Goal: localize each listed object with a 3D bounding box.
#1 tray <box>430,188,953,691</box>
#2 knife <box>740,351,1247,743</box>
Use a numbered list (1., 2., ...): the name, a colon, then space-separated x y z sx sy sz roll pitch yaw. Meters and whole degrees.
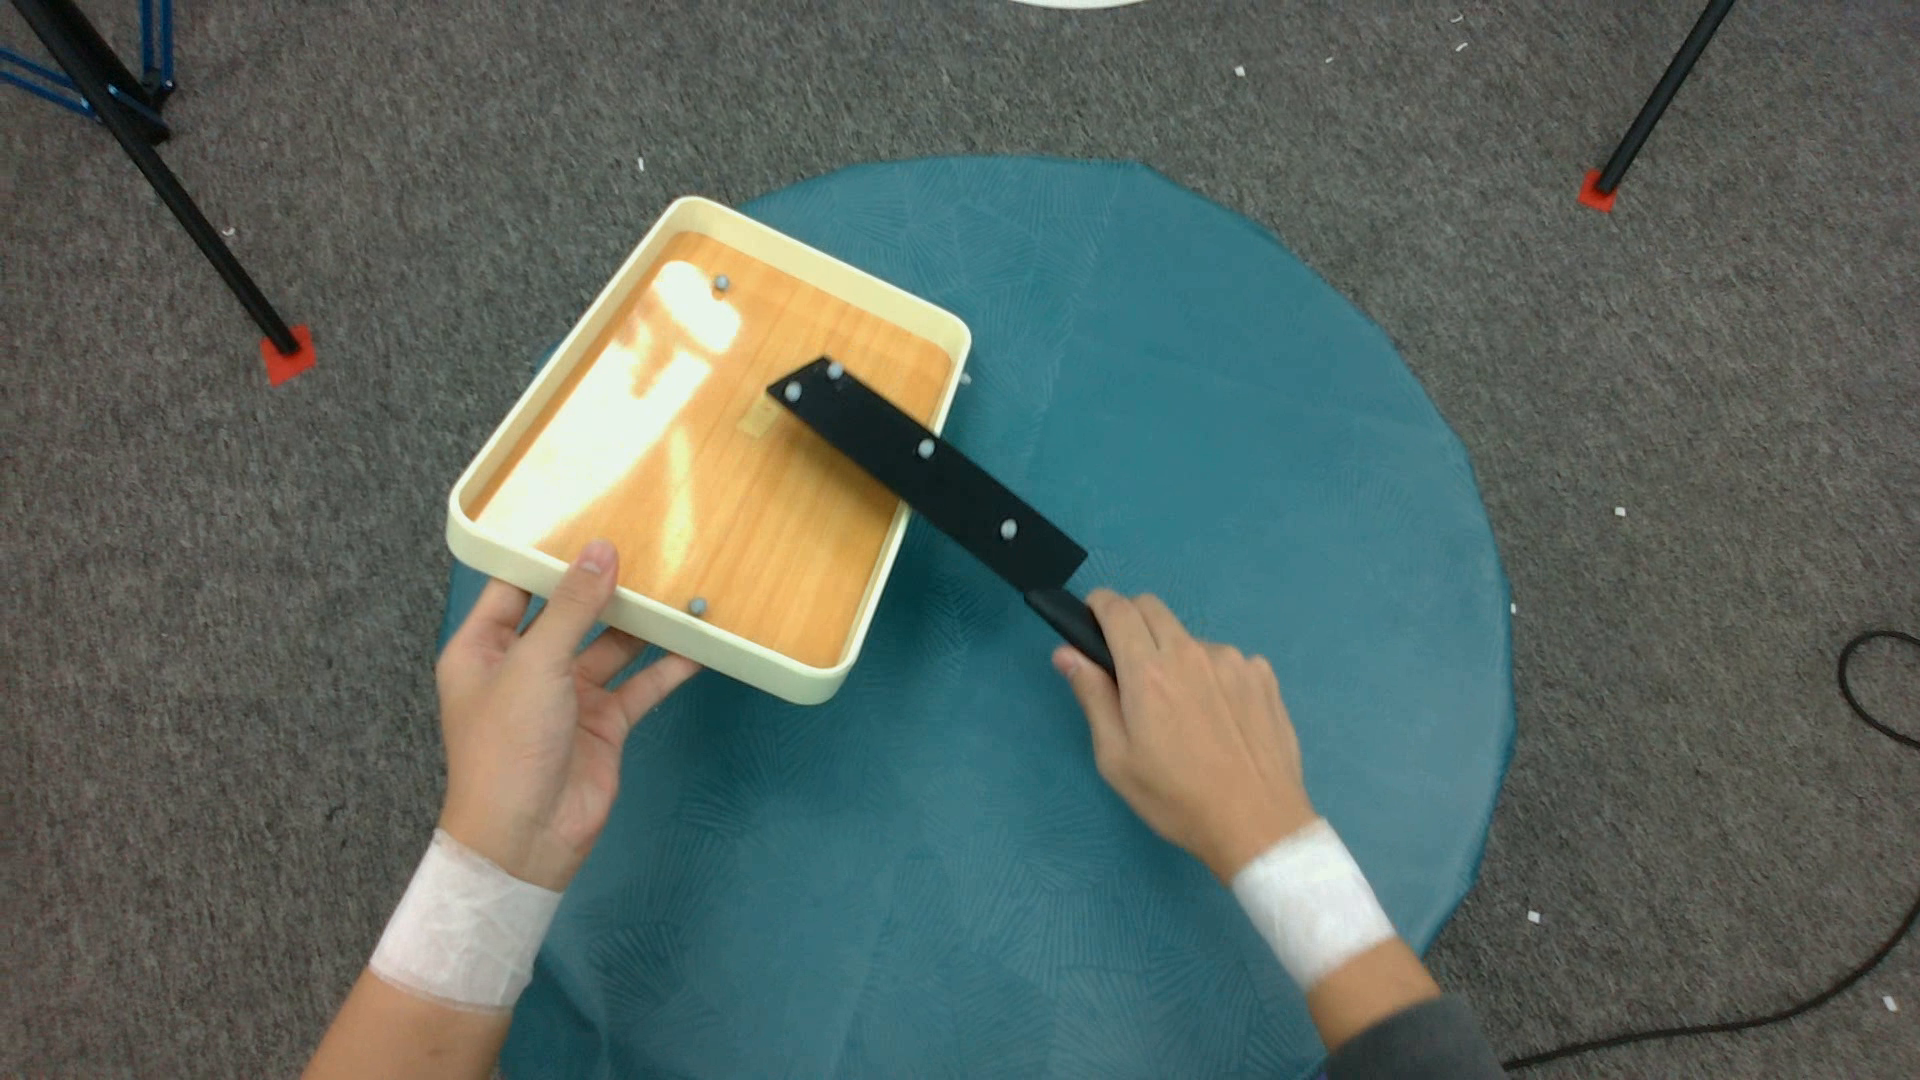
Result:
1. tray: -0.120 -0.068 0.714 0.191 0.027 0.302 24 42 -7
2. knife: 0.019 0.000 0.697 0.302 0.021 0.081 39 37 9
